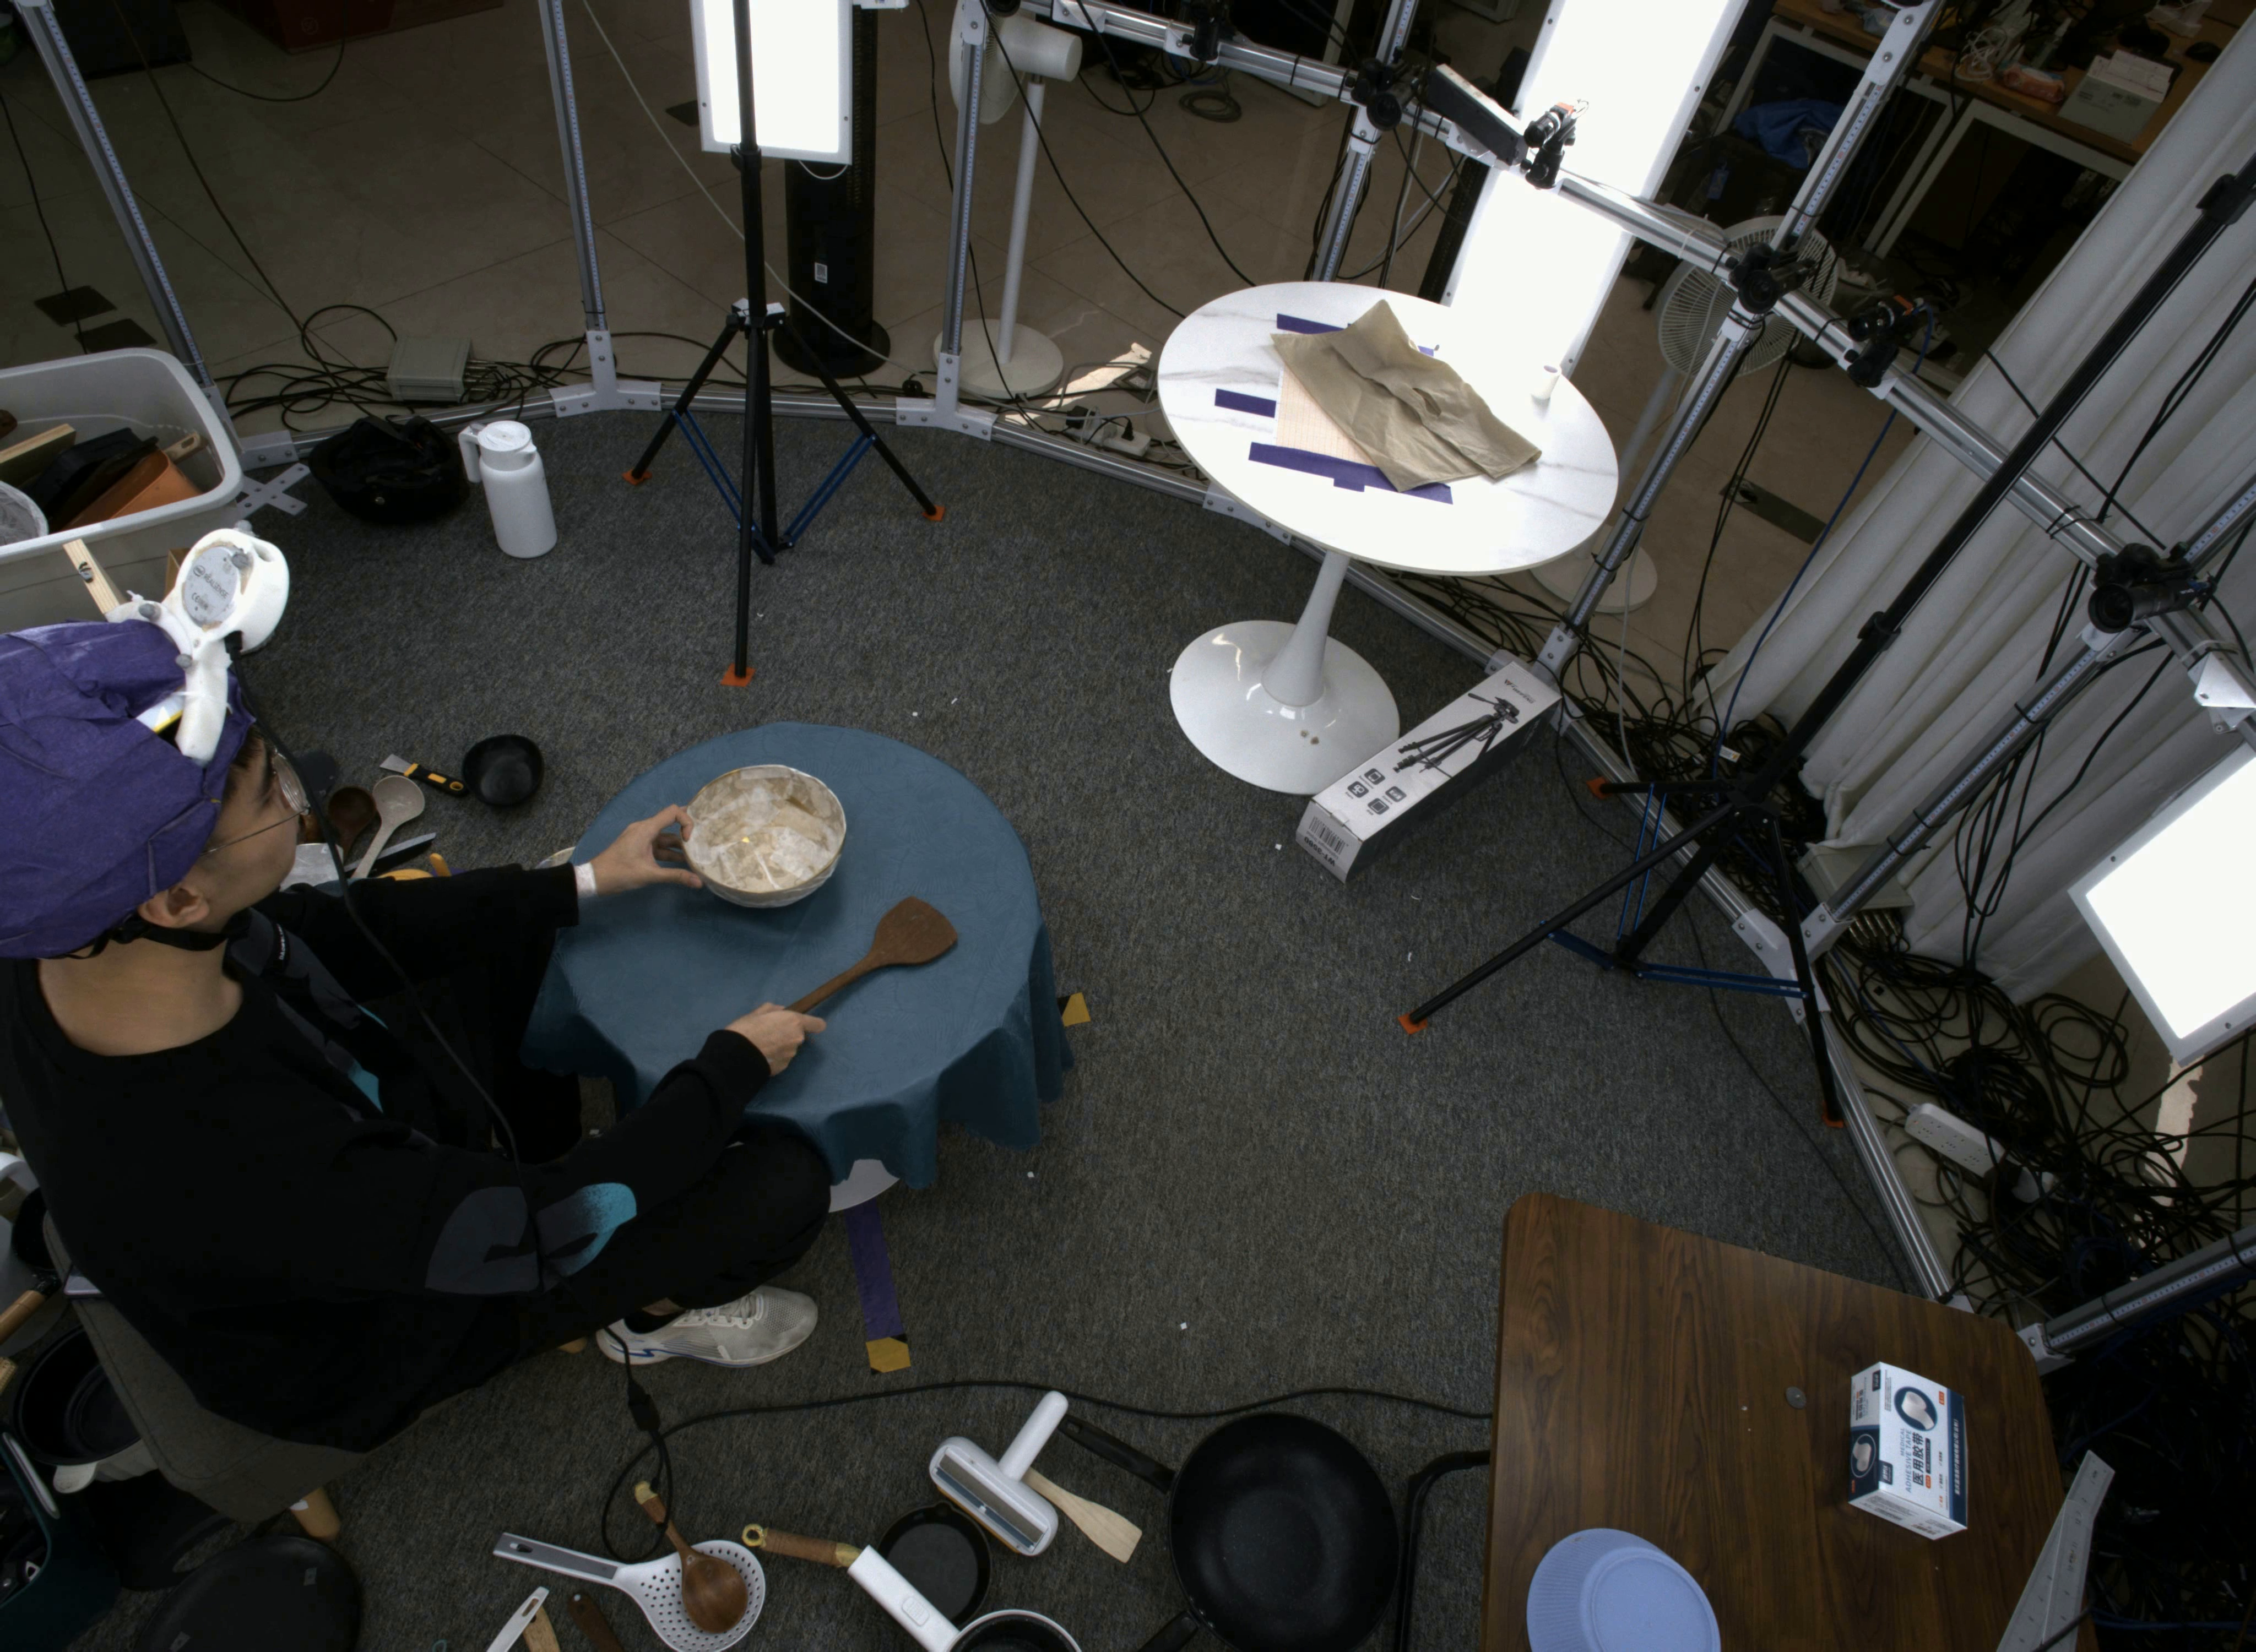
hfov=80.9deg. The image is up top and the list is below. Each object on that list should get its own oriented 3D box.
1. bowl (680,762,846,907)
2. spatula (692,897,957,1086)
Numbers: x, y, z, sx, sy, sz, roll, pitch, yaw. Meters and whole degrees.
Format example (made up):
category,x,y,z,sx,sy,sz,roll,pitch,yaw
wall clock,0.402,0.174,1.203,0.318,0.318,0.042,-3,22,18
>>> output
category,x,y,z,sx,sy,sz,roll,pitch,yaw
bowl,-0.463,0.026,1.639,0.214,0.096,0.211,8,53,-9
spatula,-0.365,0.198,1.567,0.094,0.016,0.387,40,47,18
